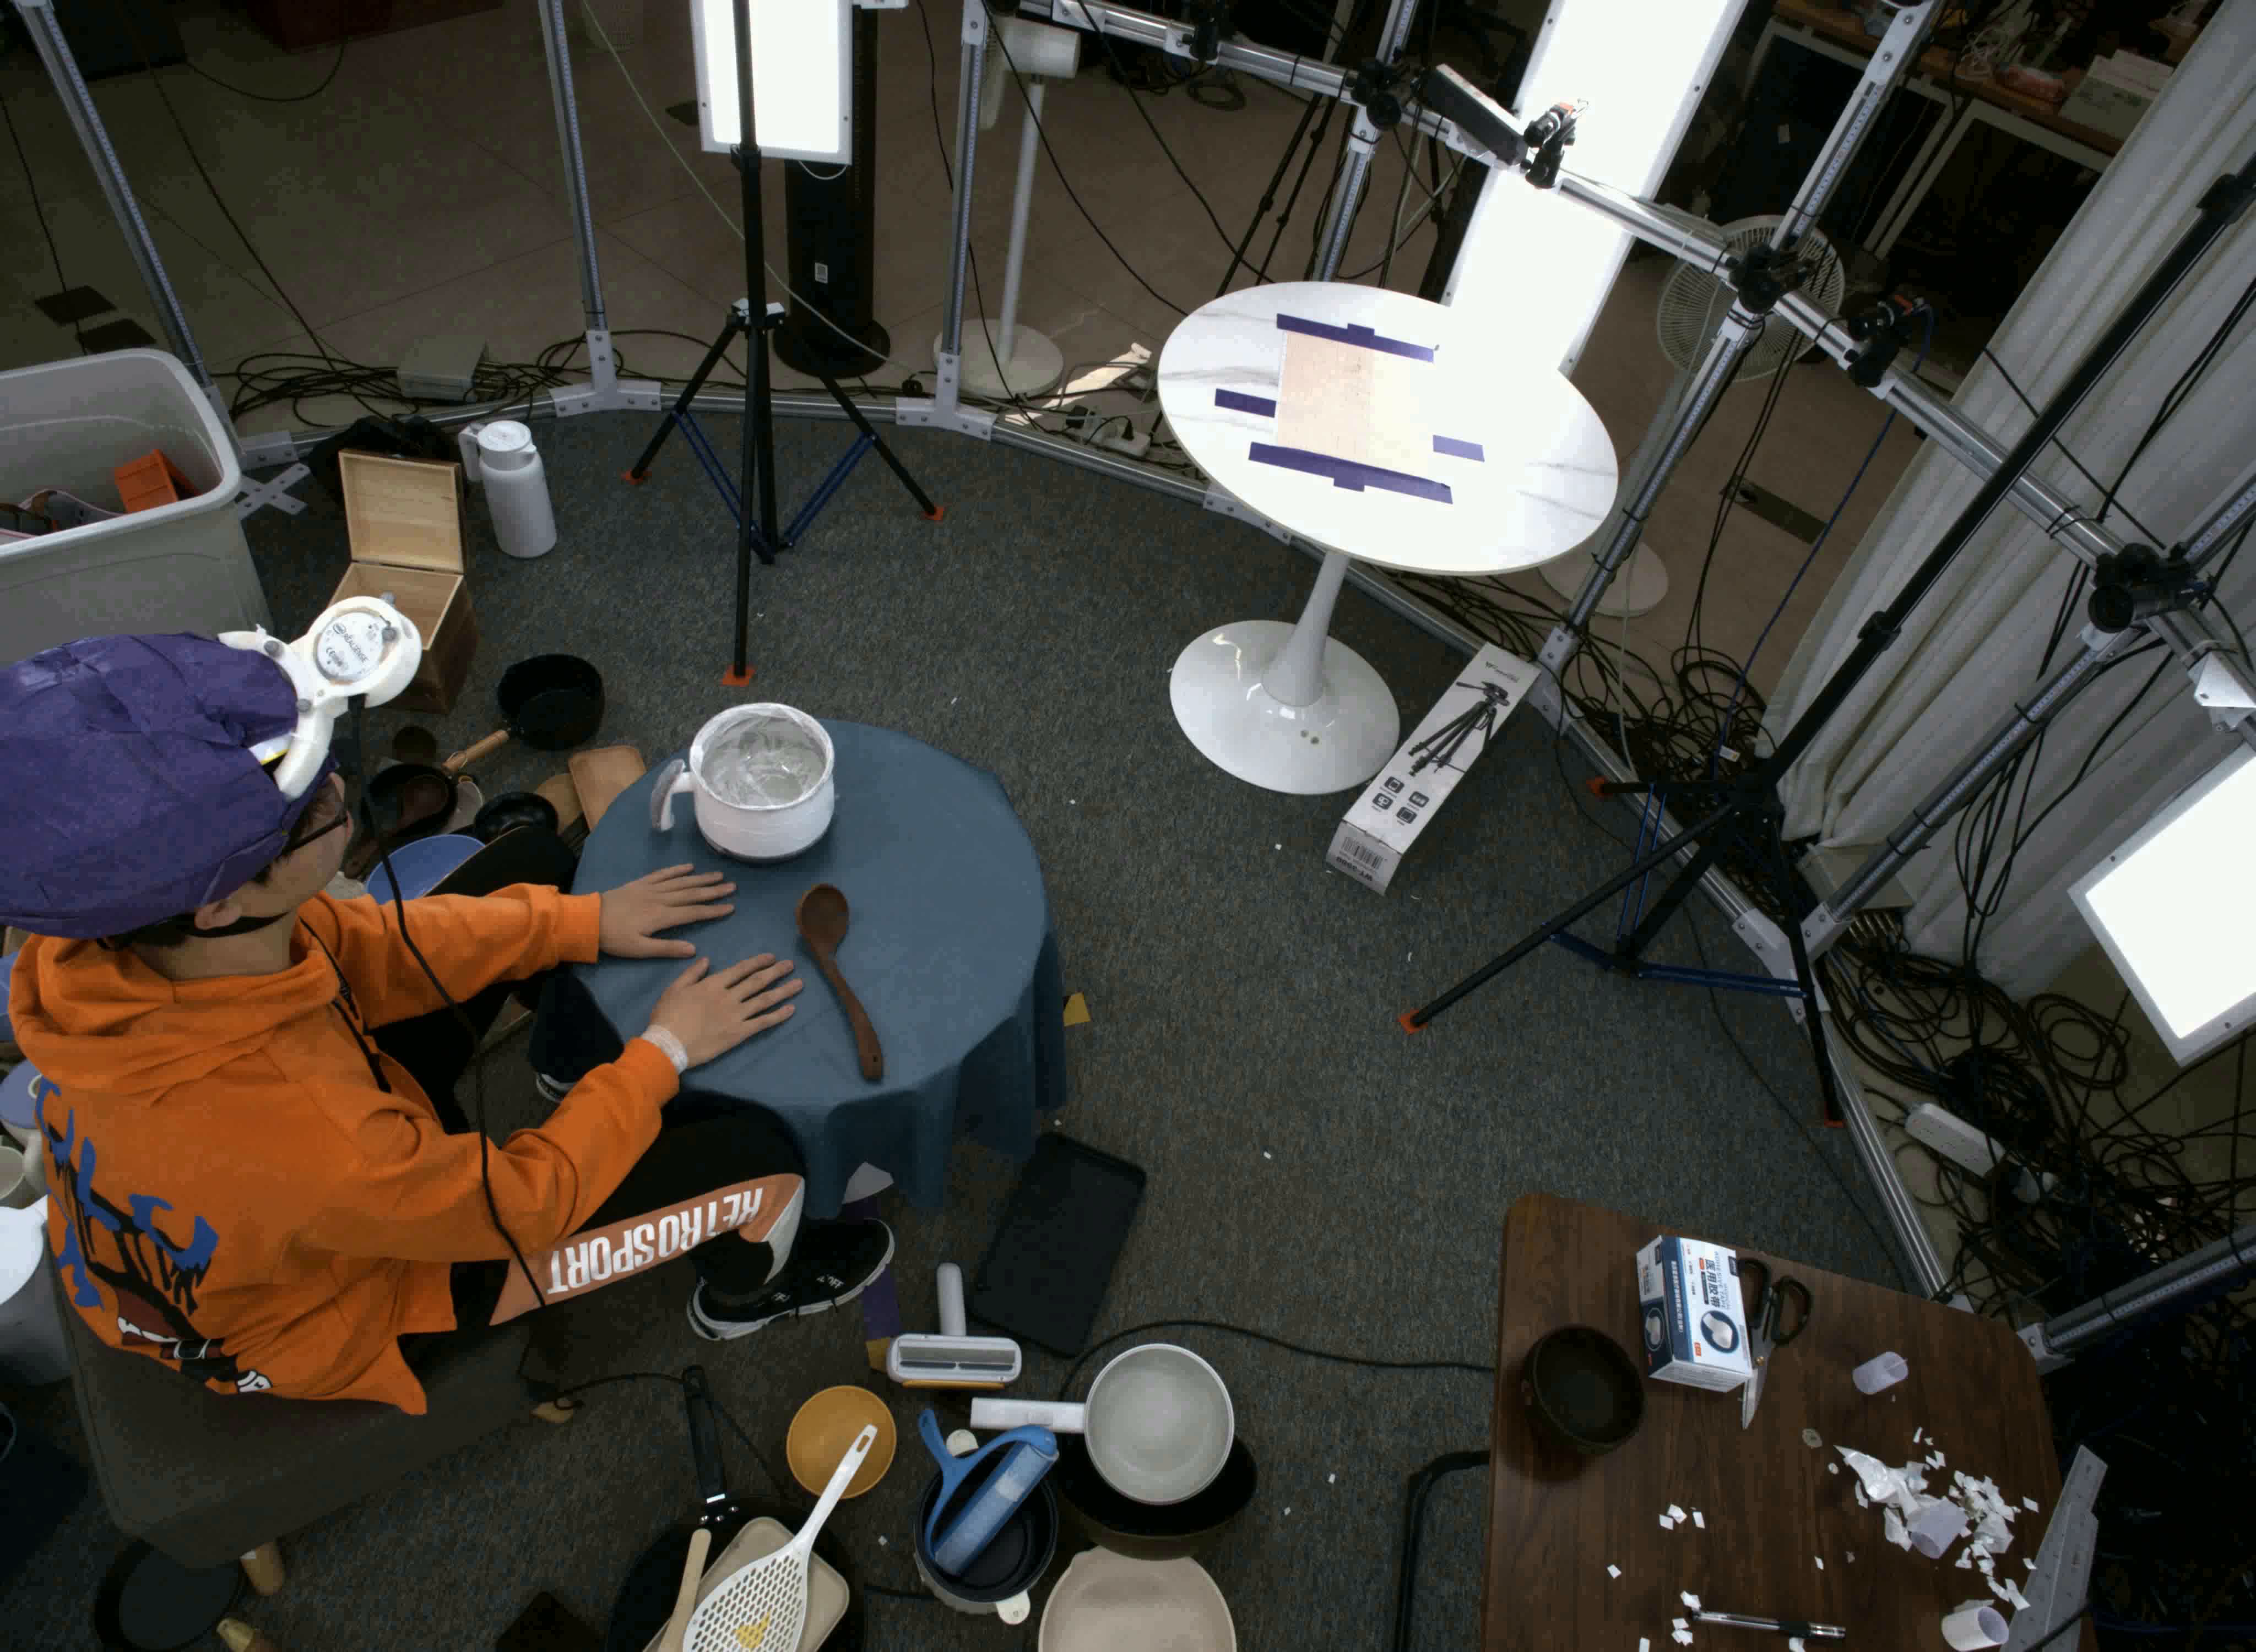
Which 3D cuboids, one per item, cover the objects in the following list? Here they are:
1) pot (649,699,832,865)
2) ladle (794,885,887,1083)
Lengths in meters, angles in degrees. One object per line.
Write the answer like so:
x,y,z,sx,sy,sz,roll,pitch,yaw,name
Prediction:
-0.493,-0.048,1.642,0.235,0.139,0.174,-10,55,-21,pot
-0.336,0.182,1.562,0.078,0.065,0.253,1,48,-46,ladle
